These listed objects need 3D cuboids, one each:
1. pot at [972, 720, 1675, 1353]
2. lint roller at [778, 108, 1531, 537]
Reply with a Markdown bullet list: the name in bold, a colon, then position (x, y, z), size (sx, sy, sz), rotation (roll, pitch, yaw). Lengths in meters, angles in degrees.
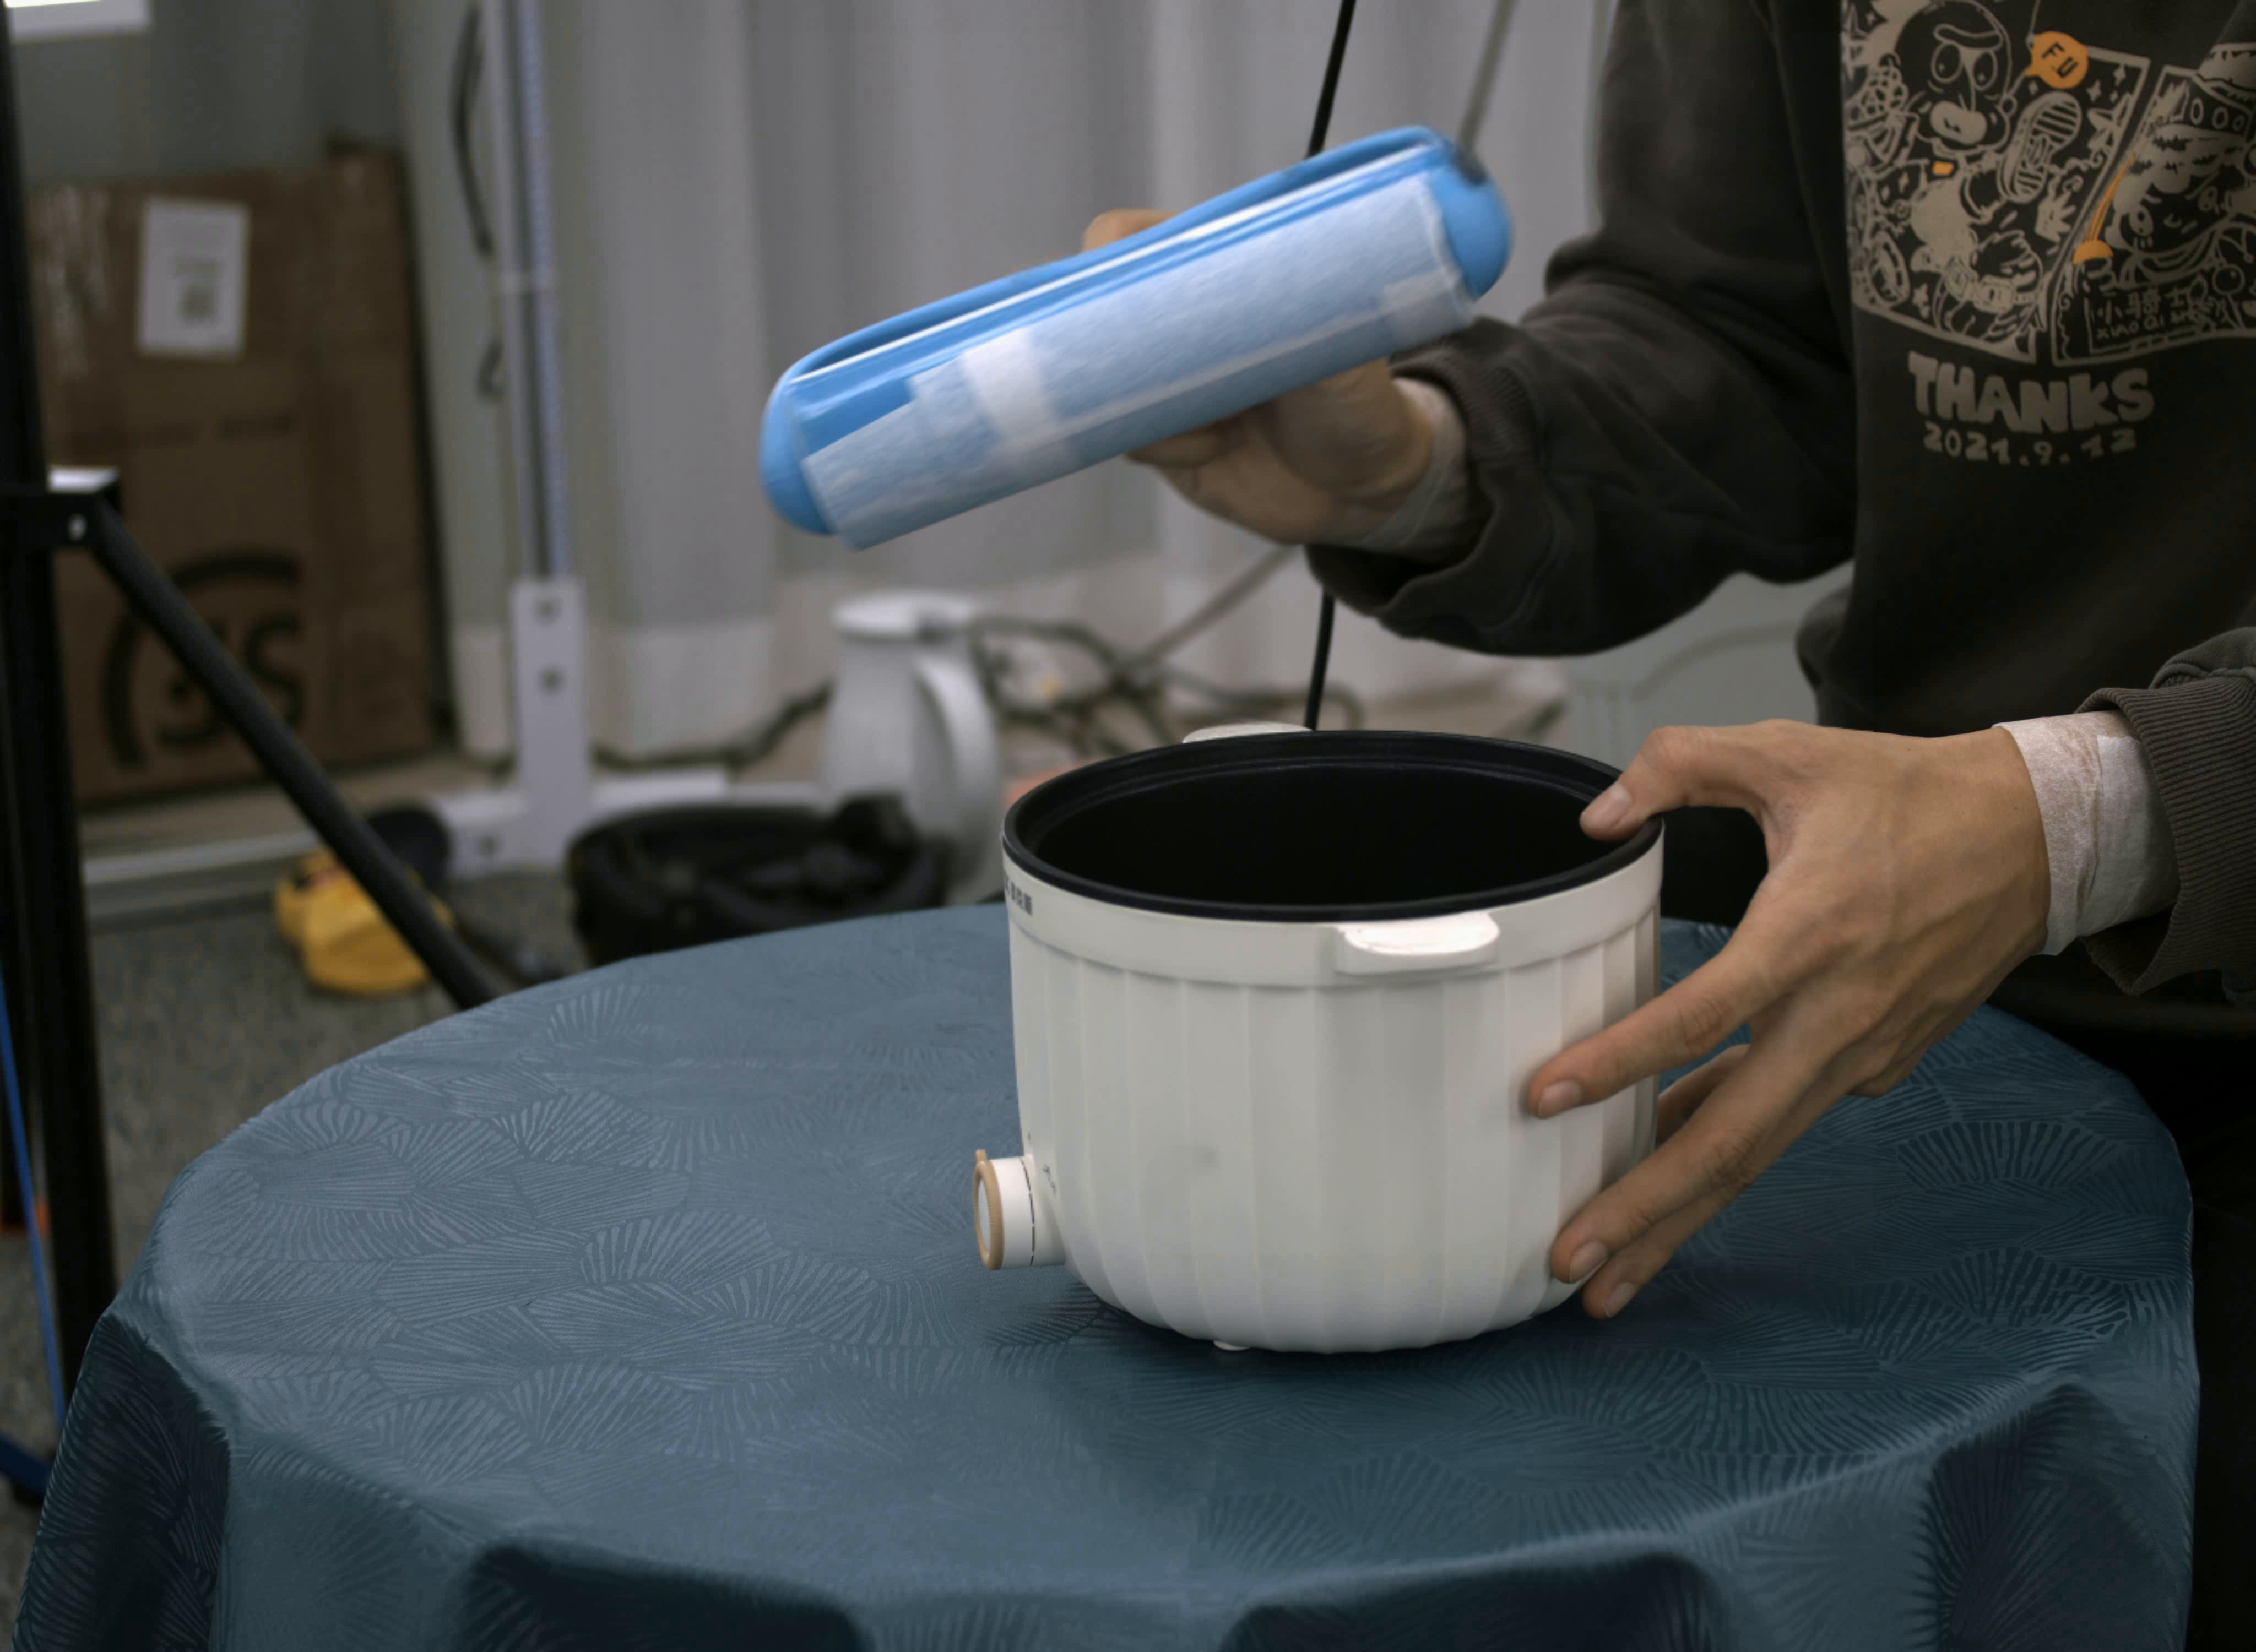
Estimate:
- **pot**: position (0.053, 0.061, 1.462), size (0.188, 0.143, 0.243), rotation (-2, 14, -11)
- **lint roller**: position (0.010, -0.148, 1.584), size (0.229, 0.068, 0.179), rotation (-22, 4, 7)
